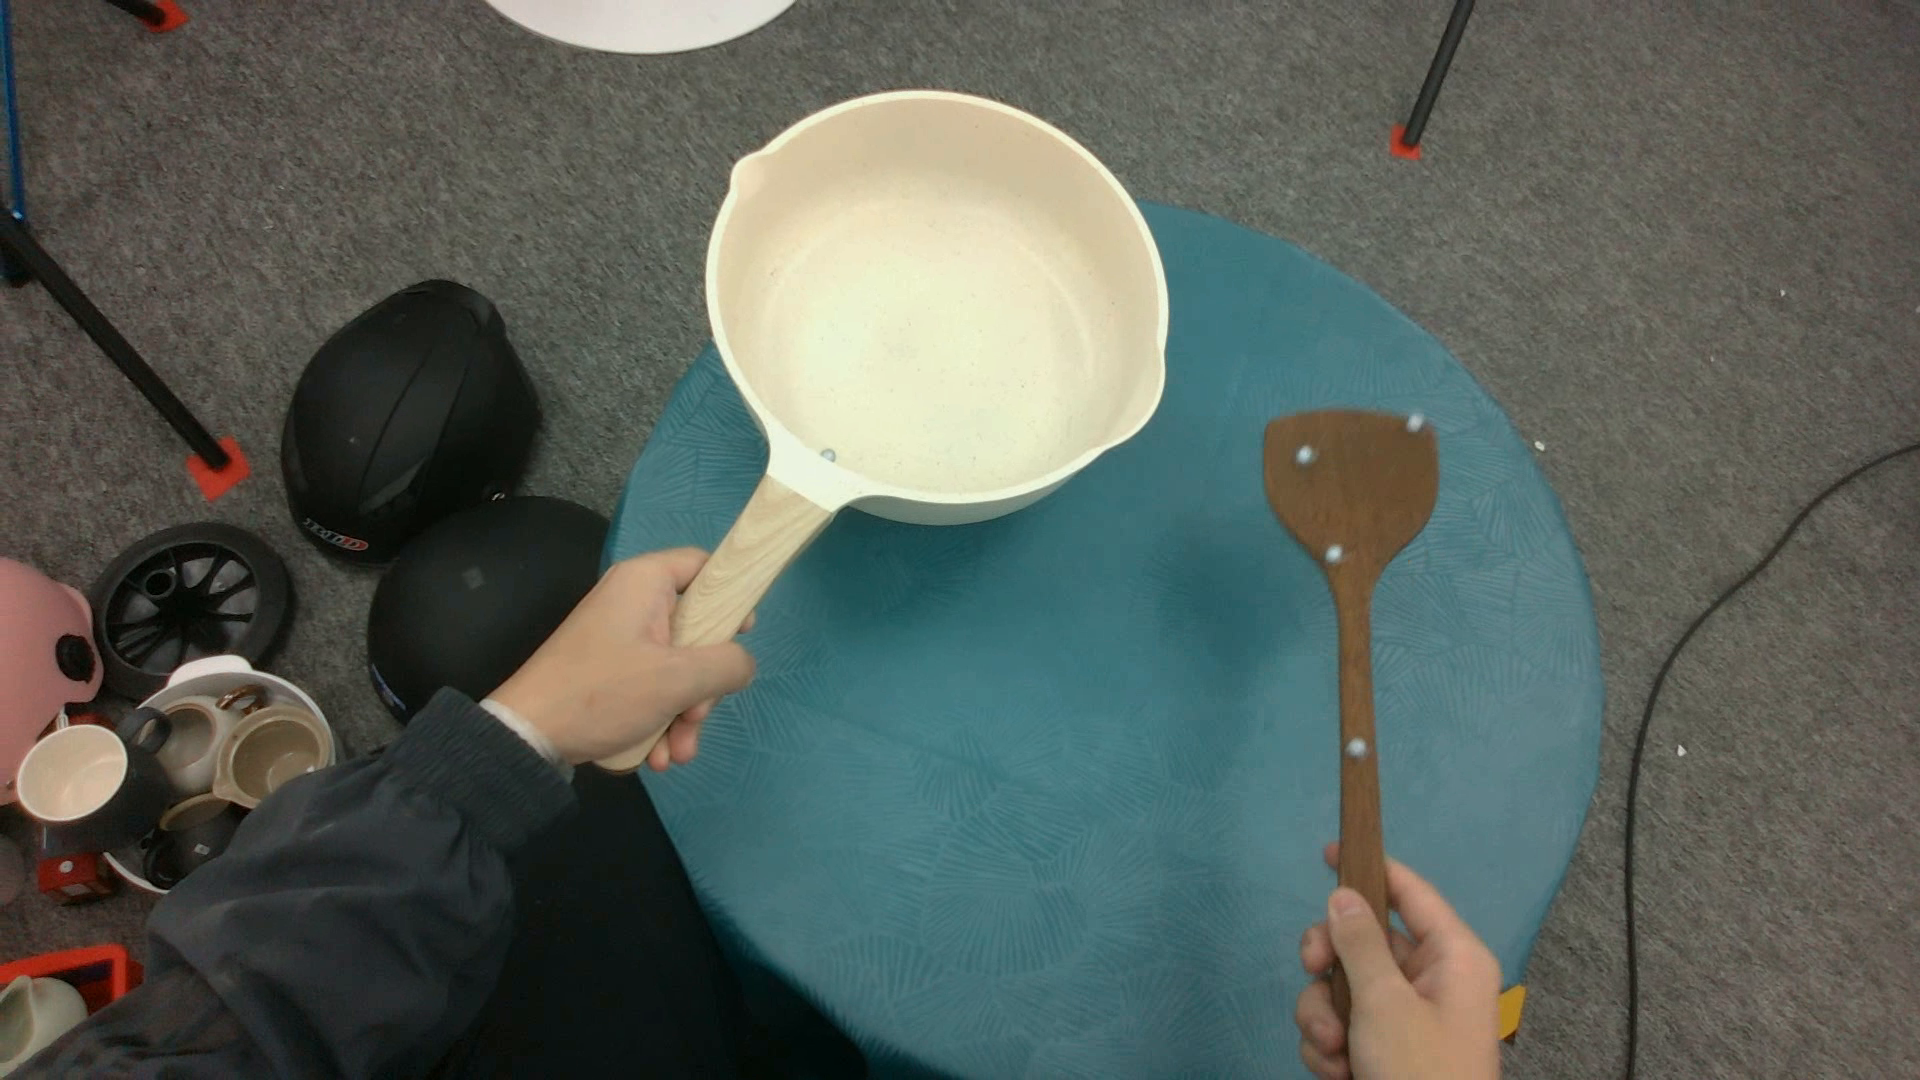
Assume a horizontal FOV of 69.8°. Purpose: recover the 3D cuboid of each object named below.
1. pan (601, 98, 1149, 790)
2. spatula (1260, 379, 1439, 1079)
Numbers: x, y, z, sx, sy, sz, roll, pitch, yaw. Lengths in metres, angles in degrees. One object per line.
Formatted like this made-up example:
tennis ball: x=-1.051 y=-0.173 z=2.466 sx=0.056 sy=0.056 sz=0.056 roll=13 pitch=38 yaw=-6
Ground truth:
pan: x=-0.065 y=-0.052 z=0.751 sx=0.263 sy=0.101 sz=0.436 roll=29 pitch=69 yaw=2
spatula: x=0.200 y=0.077 z=0.687 sx=0.096 sy=0.016 sz=0.387 roll=-1 pitch=59 yaw=12
